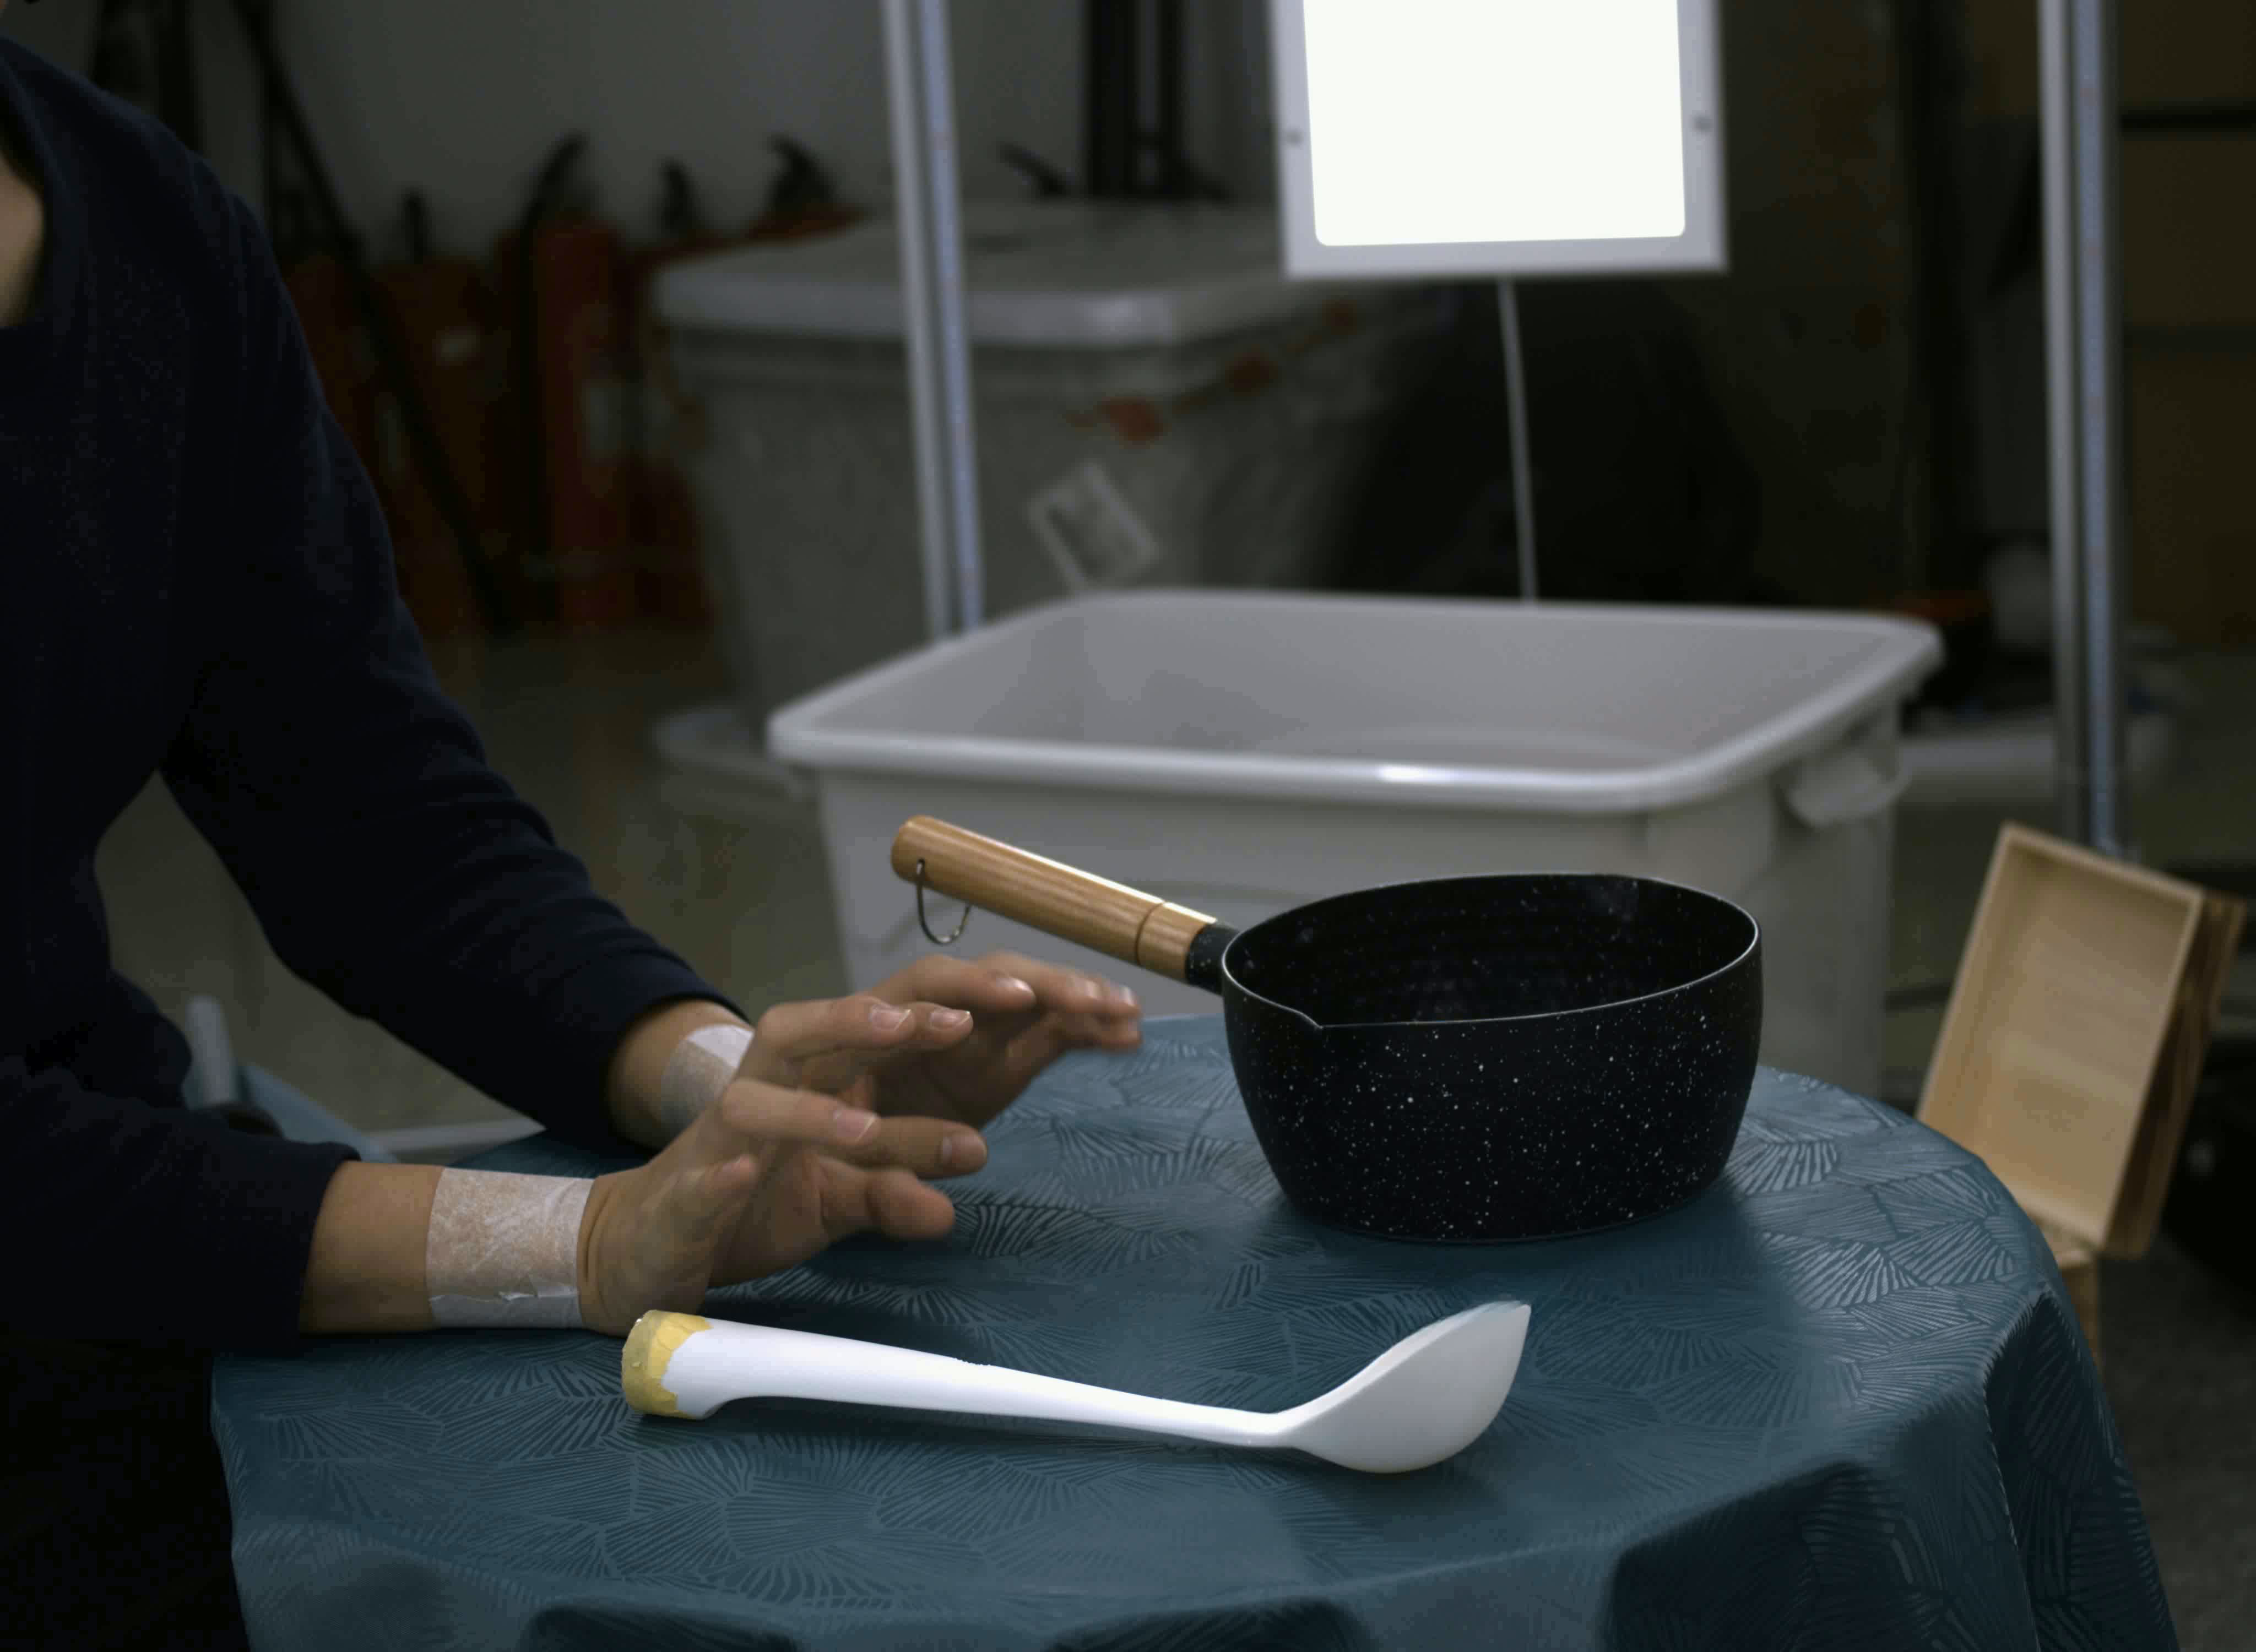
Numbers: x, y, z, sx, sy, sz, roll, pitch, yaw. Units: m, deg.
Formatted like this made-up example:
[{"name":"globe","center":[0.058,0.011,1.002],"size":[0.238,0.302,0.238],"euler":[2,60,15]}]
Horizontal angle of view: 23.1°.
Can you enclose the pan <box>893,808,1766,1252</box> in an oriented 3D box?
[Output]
[{"name":"pan","center":[0.059,0.062,1.909],"size":[0.350,0.108,0.202],"euler":[6,19,35]}]

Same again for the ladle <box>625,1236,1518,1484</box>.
[{"name":"ladle","center":[-0.021,0.157,1.648],"size":[0.298,0.070,0.088],"euler":[1,22,27]}]
